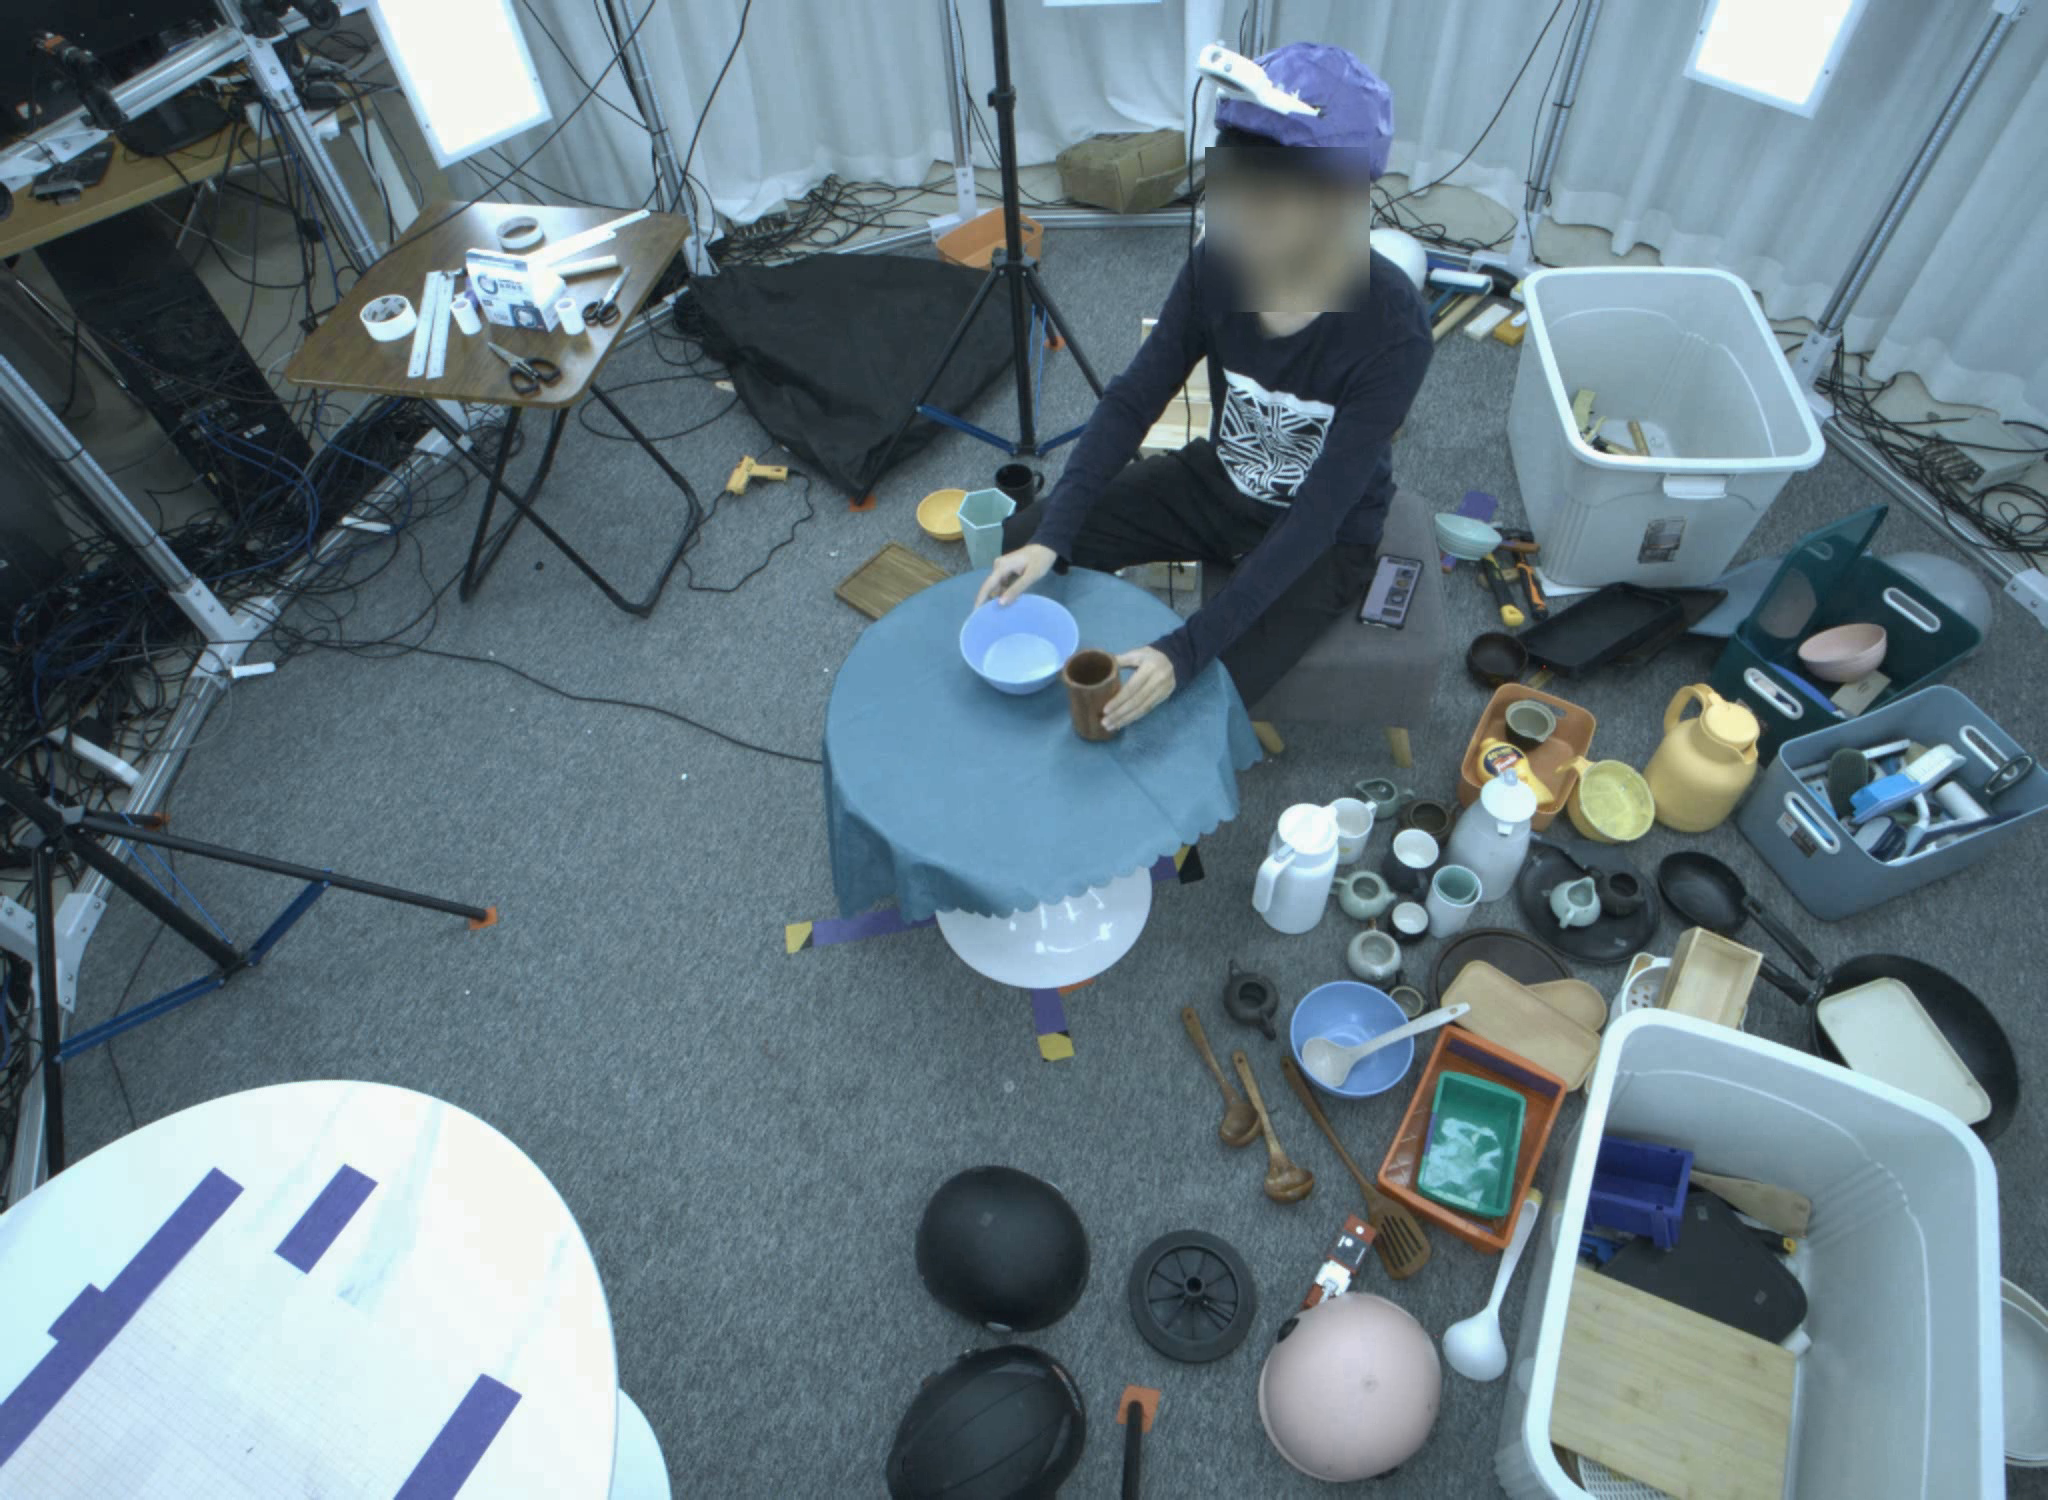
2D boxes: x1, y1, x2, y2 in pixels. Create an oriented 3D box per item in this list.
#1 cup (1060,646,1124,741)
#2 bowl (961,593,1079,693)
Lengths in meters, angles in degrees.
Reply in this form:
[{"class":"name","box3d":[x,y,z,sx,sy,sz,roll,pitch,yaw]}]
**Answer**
[{"class":"cup","box3d":[0.098,-0.080,1.750,0.087,0.120,0.087,-3,51,5]},{"class":"bowl","box3d":[-0.005,-0.150,1.844,0.176,0.071,0.174,0,54,1]}]
